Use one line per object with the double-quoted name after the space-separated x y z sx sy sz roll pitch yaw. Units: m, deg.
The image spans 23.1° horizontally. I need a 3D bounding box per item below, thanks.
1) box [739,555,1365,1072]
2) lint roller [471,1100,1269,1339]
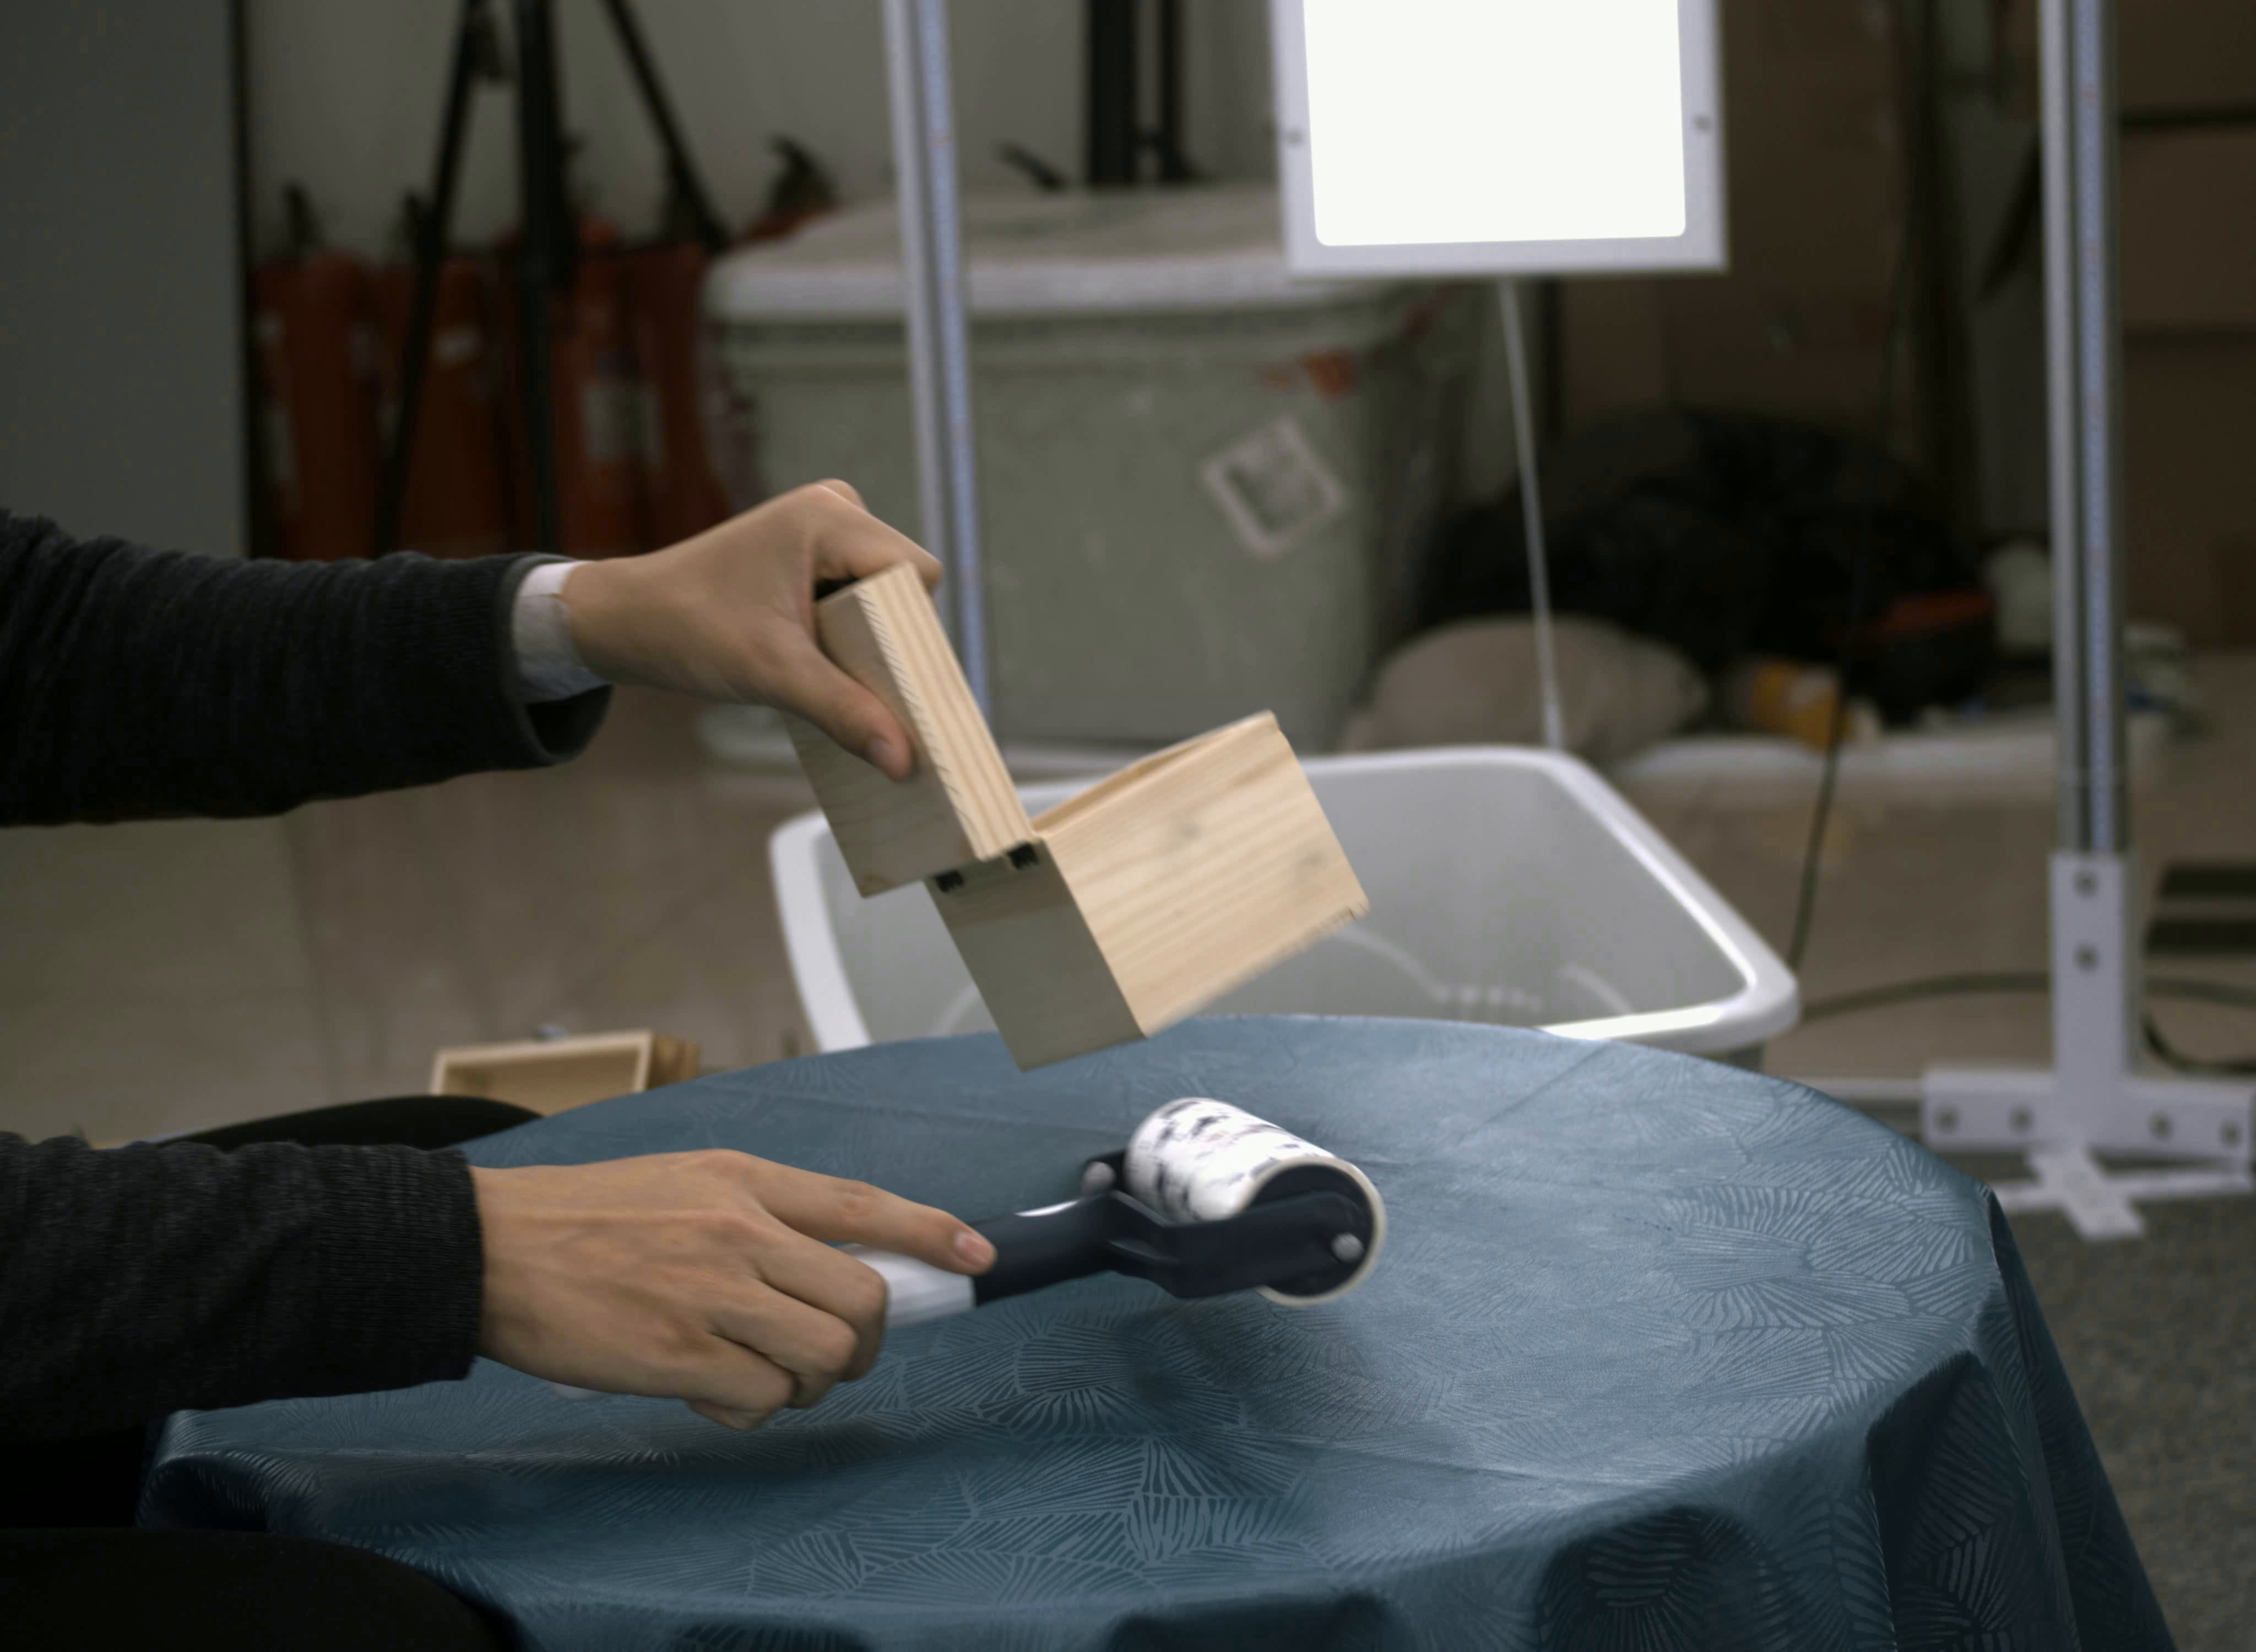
-0.027 -0.021 1.896 0.131 0.184 0.104 -29 2 -26 "box"
-0.080 0.124 1.697 0.246 0.050 0.176 -5 2 1 "lint roller"
